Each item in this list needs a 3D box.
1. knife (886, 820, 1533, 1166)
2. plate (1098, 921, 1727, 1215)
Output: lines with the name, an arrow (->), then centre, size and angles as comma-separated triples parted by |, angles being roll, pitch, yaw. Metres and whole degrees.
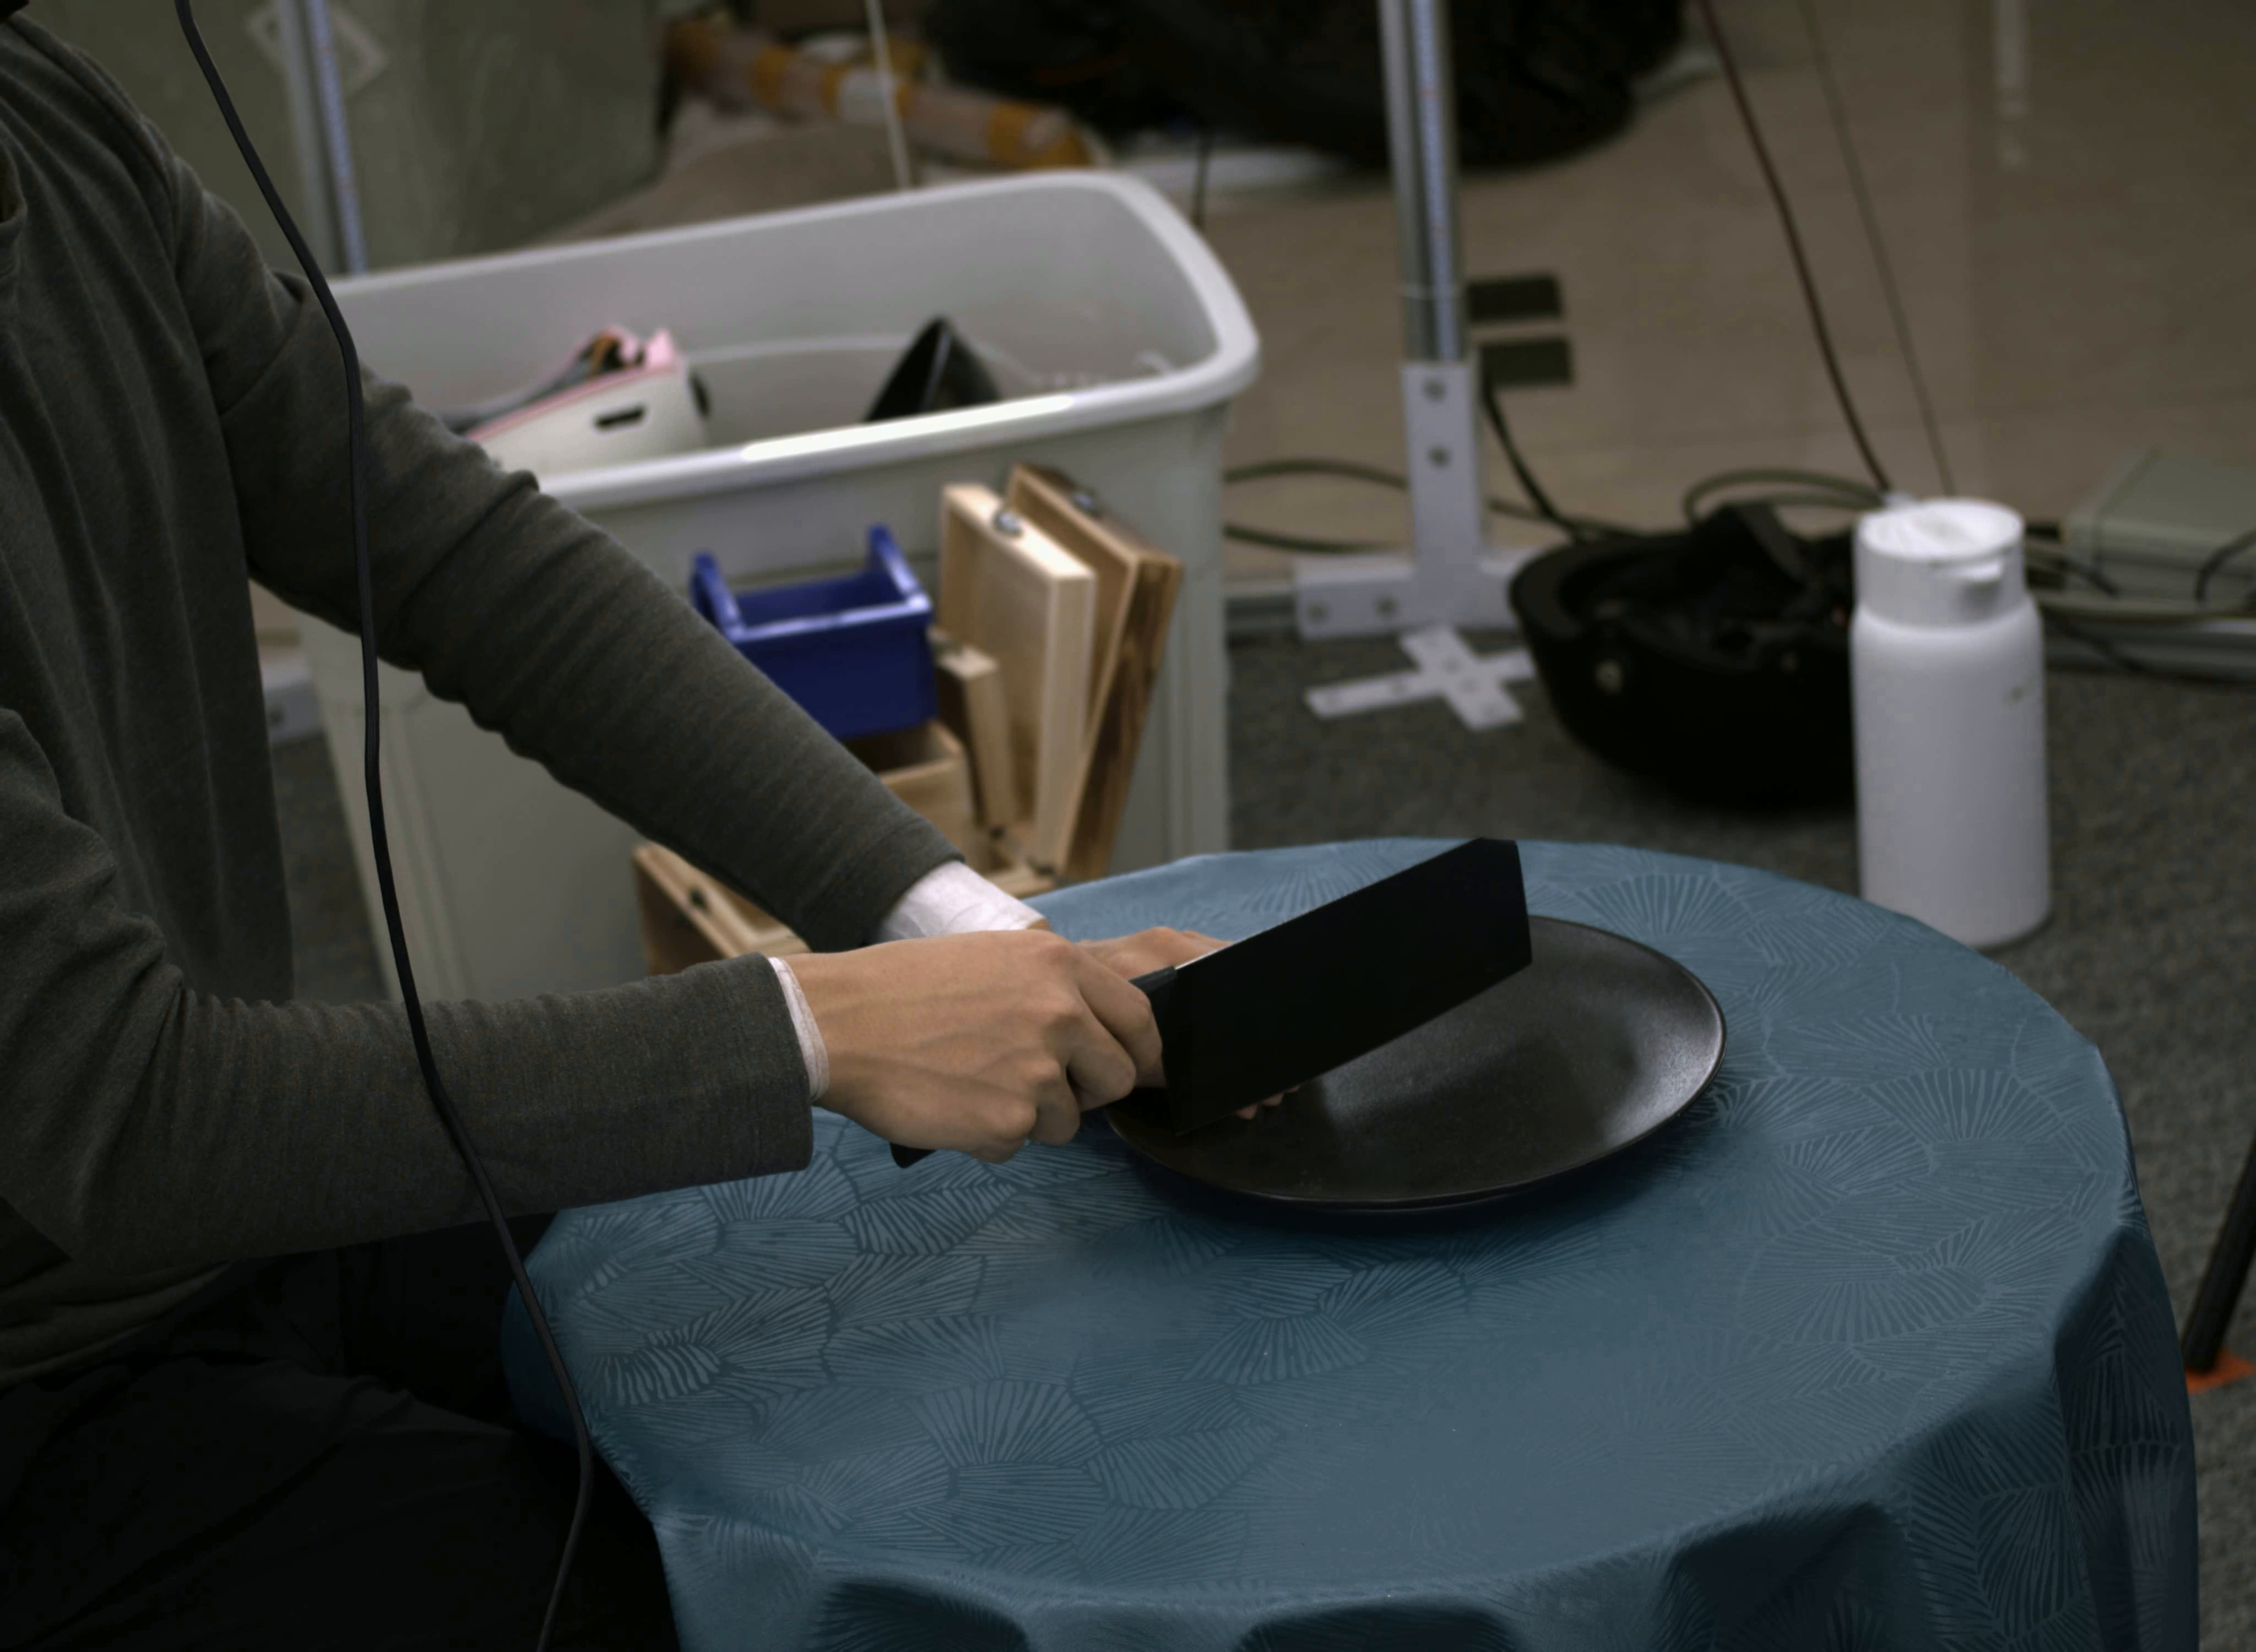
knife -> 0.036, 0.072, 2.146 | 0.300, 0.082, 0.020 | -18, 22, -32
plate -> 0.110, 0.096, 2.189 | 0.244, 0.024, 0.241 | -6, 25, 3
